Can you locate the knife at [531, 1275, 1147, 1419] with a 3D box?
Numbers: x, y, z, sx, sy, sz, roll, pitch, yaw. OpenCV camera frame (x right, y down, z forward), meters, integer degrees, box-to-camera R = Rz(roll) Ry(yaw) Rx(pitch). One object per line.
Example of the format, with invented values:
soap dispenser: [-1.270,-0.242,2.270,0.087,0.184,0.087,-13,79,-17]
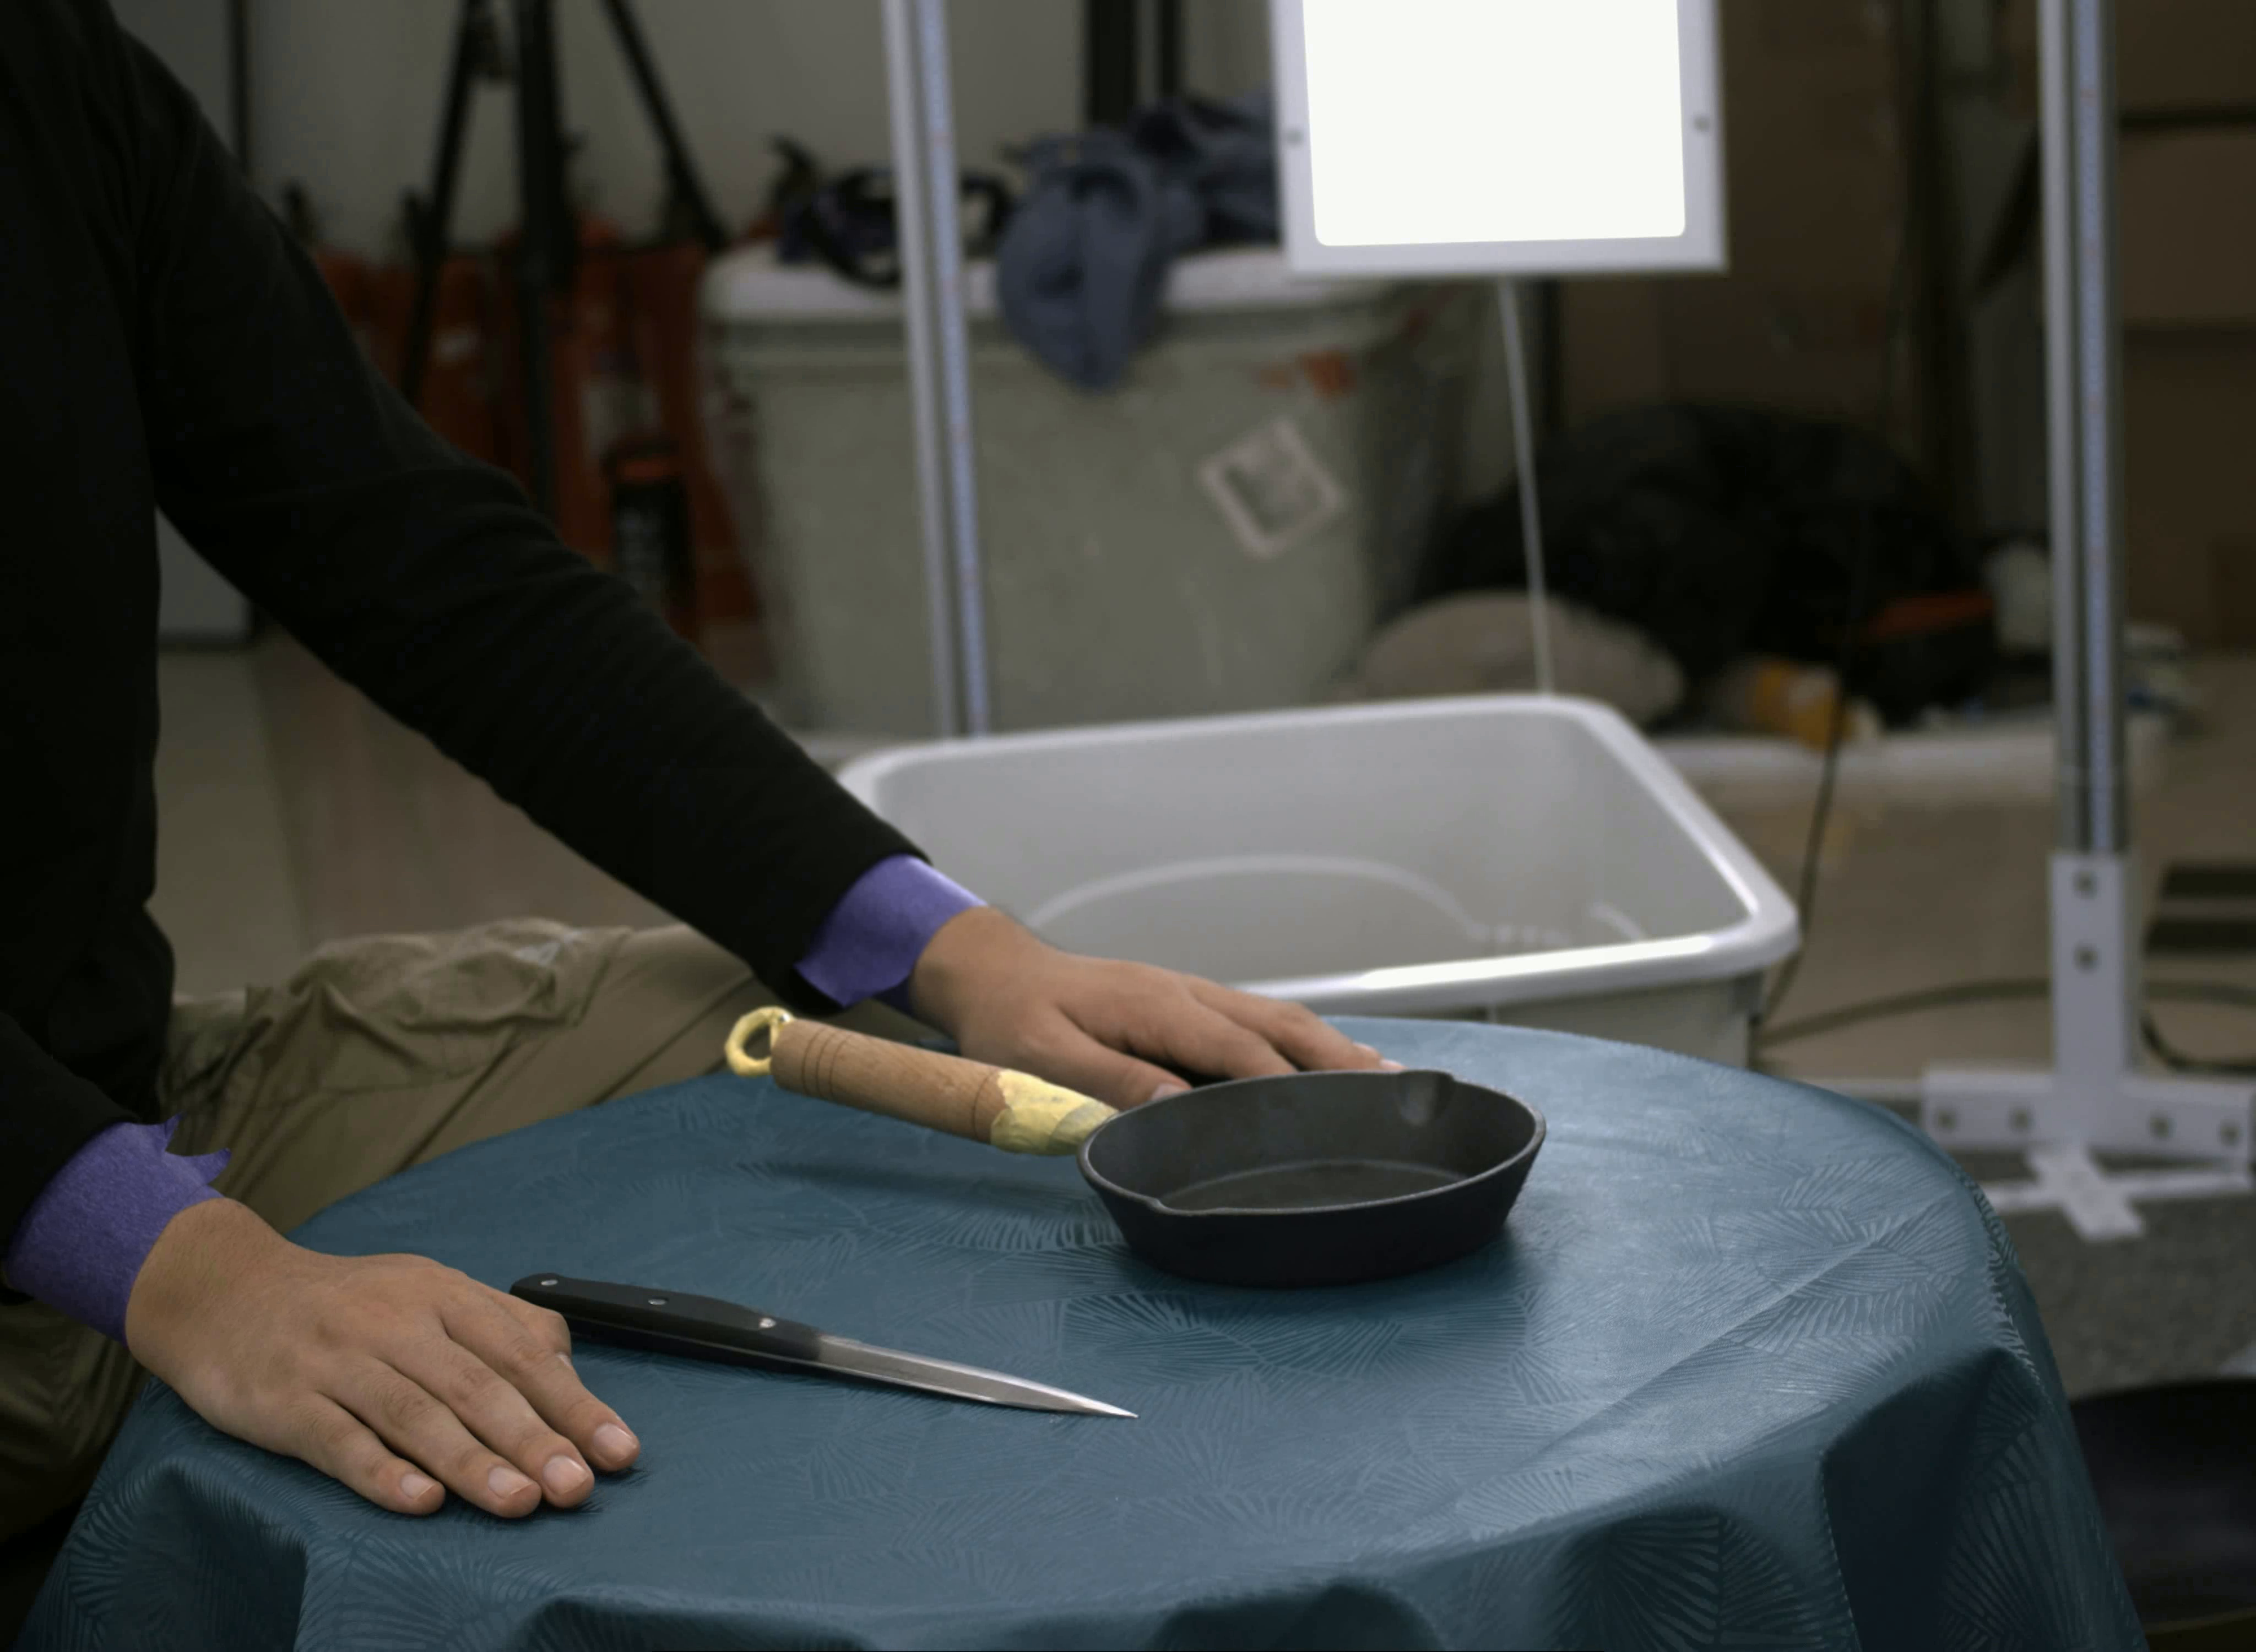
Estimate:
knife: [-0.096,0.168,1.745,0.243,0.016,0.024,7,17,33]

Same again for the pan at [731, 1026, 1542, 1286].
pan: [-0.007,0.106,1.888,0.331,0.050,0.165,5,17,38]
